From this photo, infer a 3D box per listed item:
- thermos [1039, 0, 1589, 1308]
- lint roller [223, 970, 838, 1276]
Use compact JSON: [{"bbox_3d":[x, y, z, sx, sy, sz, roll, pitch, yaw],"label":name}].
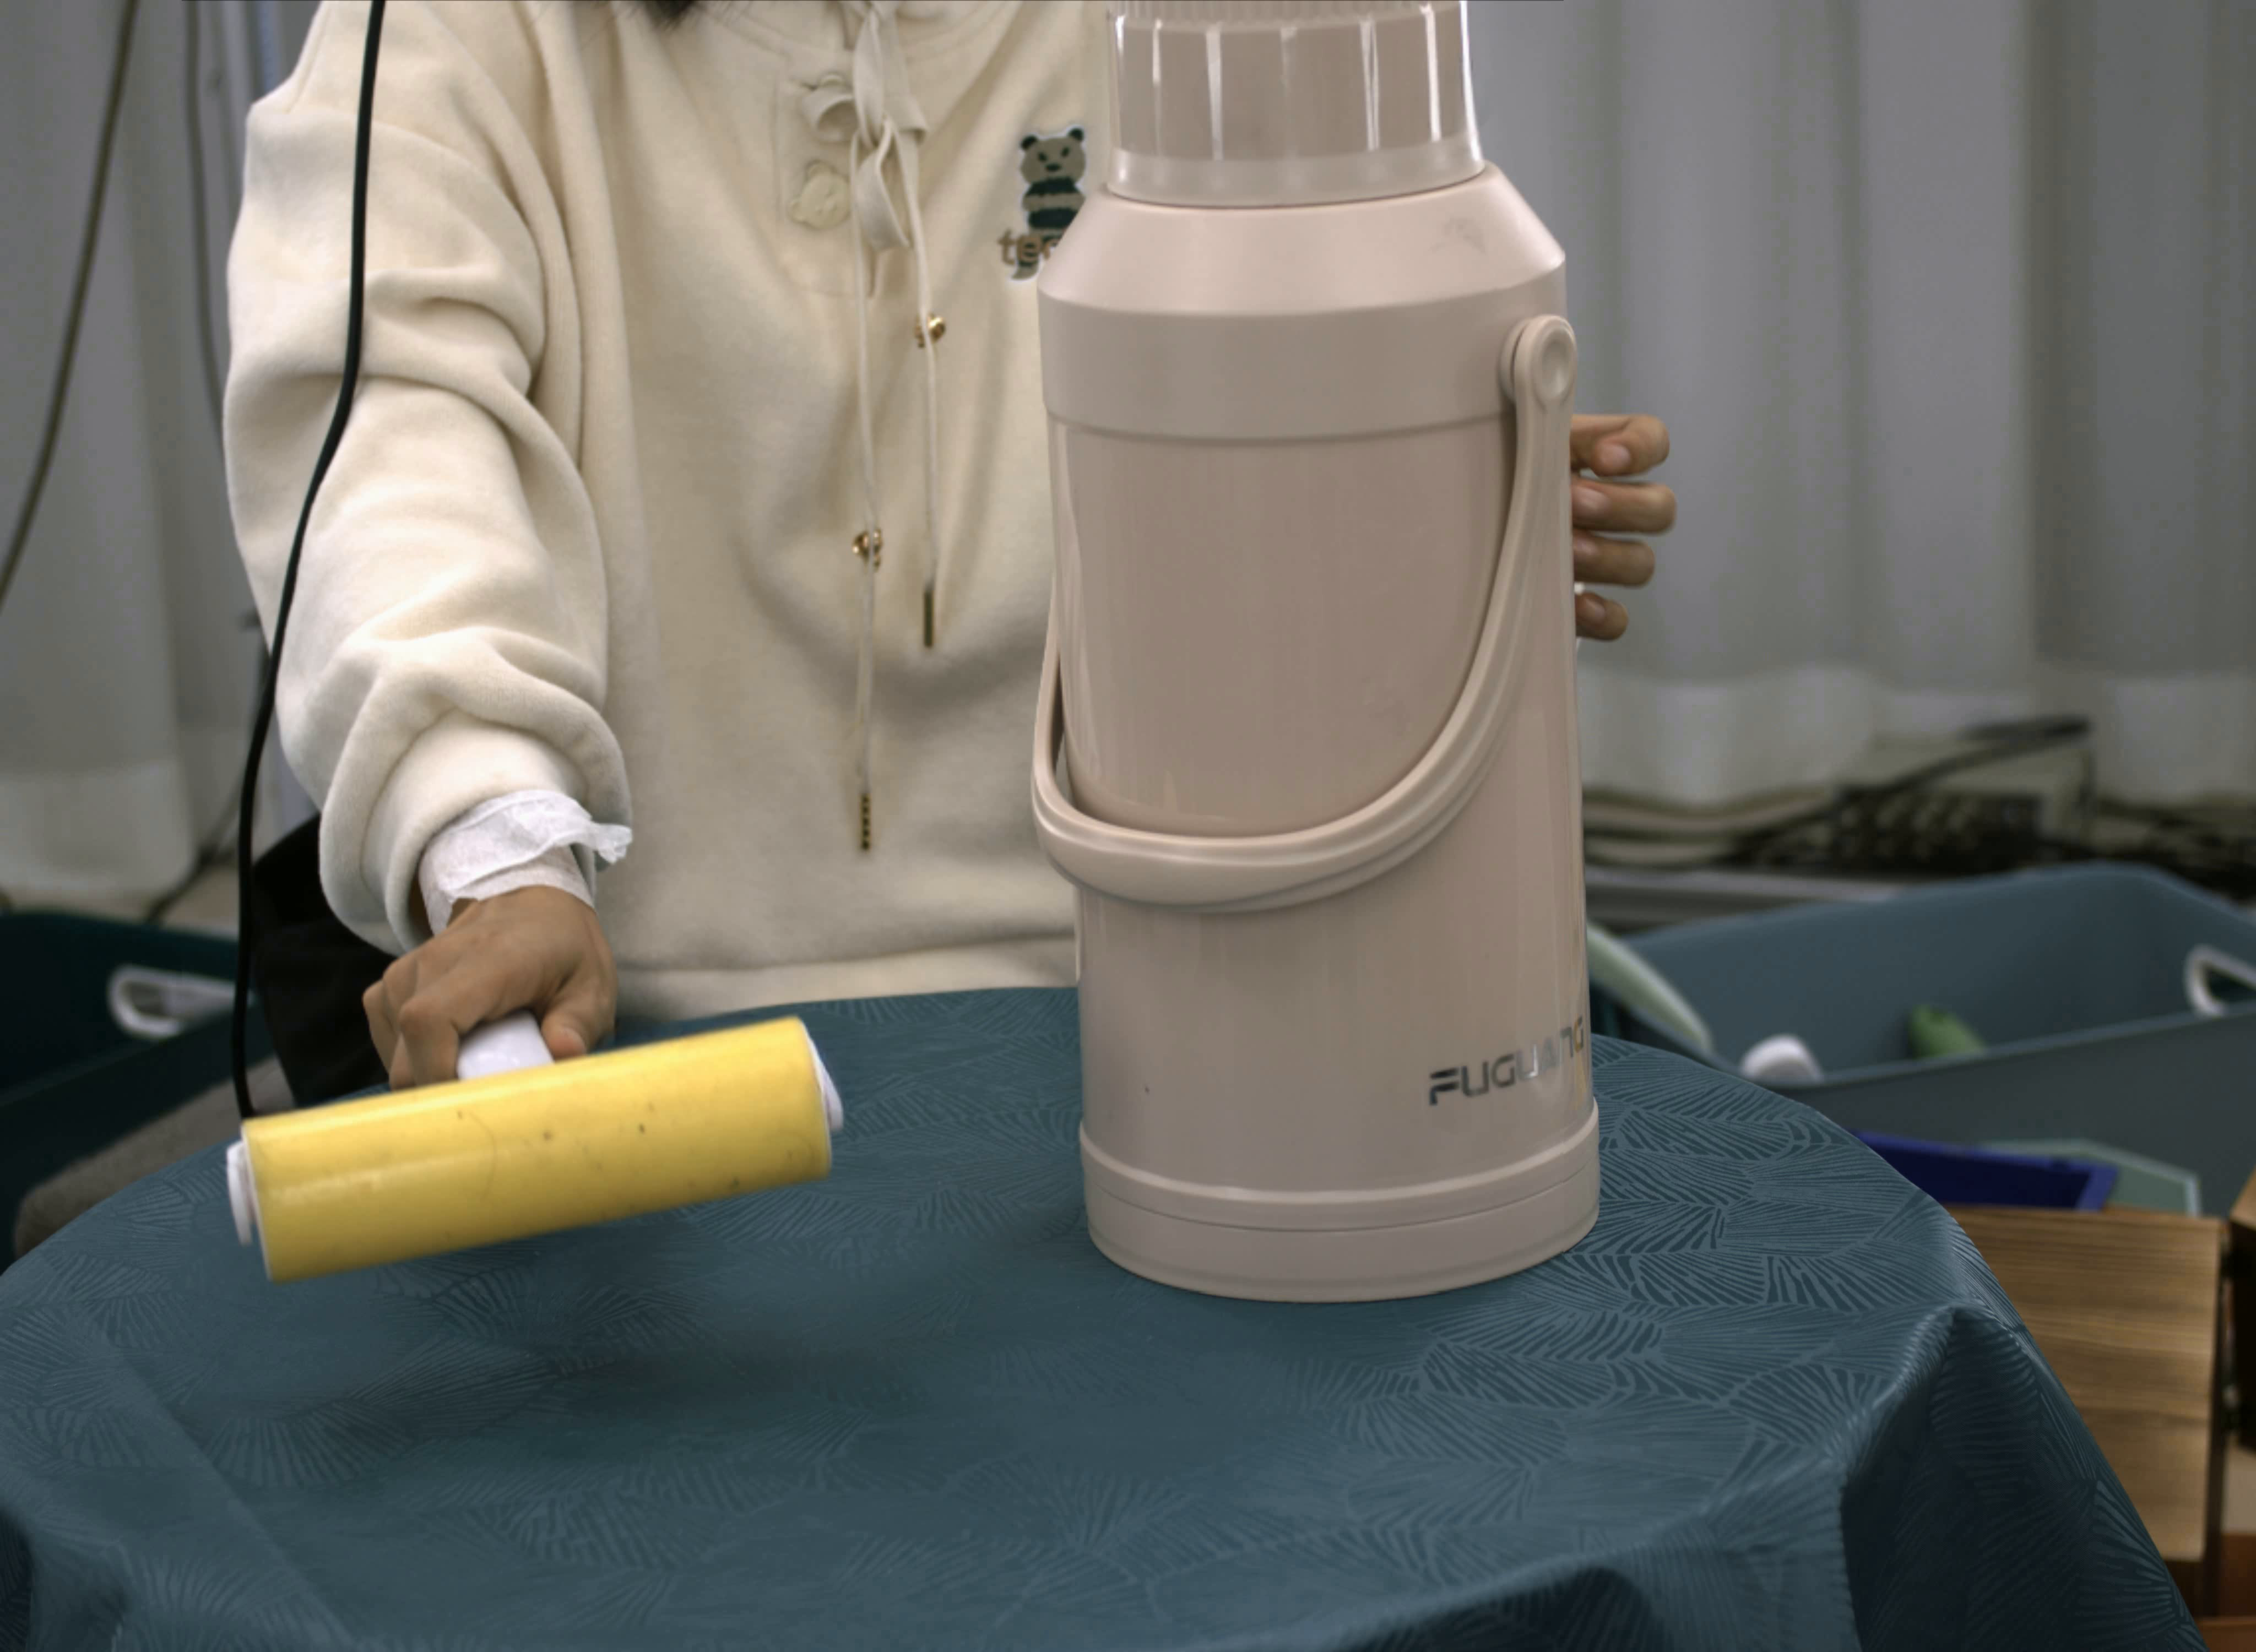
[{"bbox_3d":[0.065,-0.073,1.644,0.176,0.405,0.207,7,16,36],"label":"thermos"},{"bbox_3d":[-0.185,0.066,1.611,0.173,0.051,0.194,-11,24,-11],"label":"lint roller"}]
